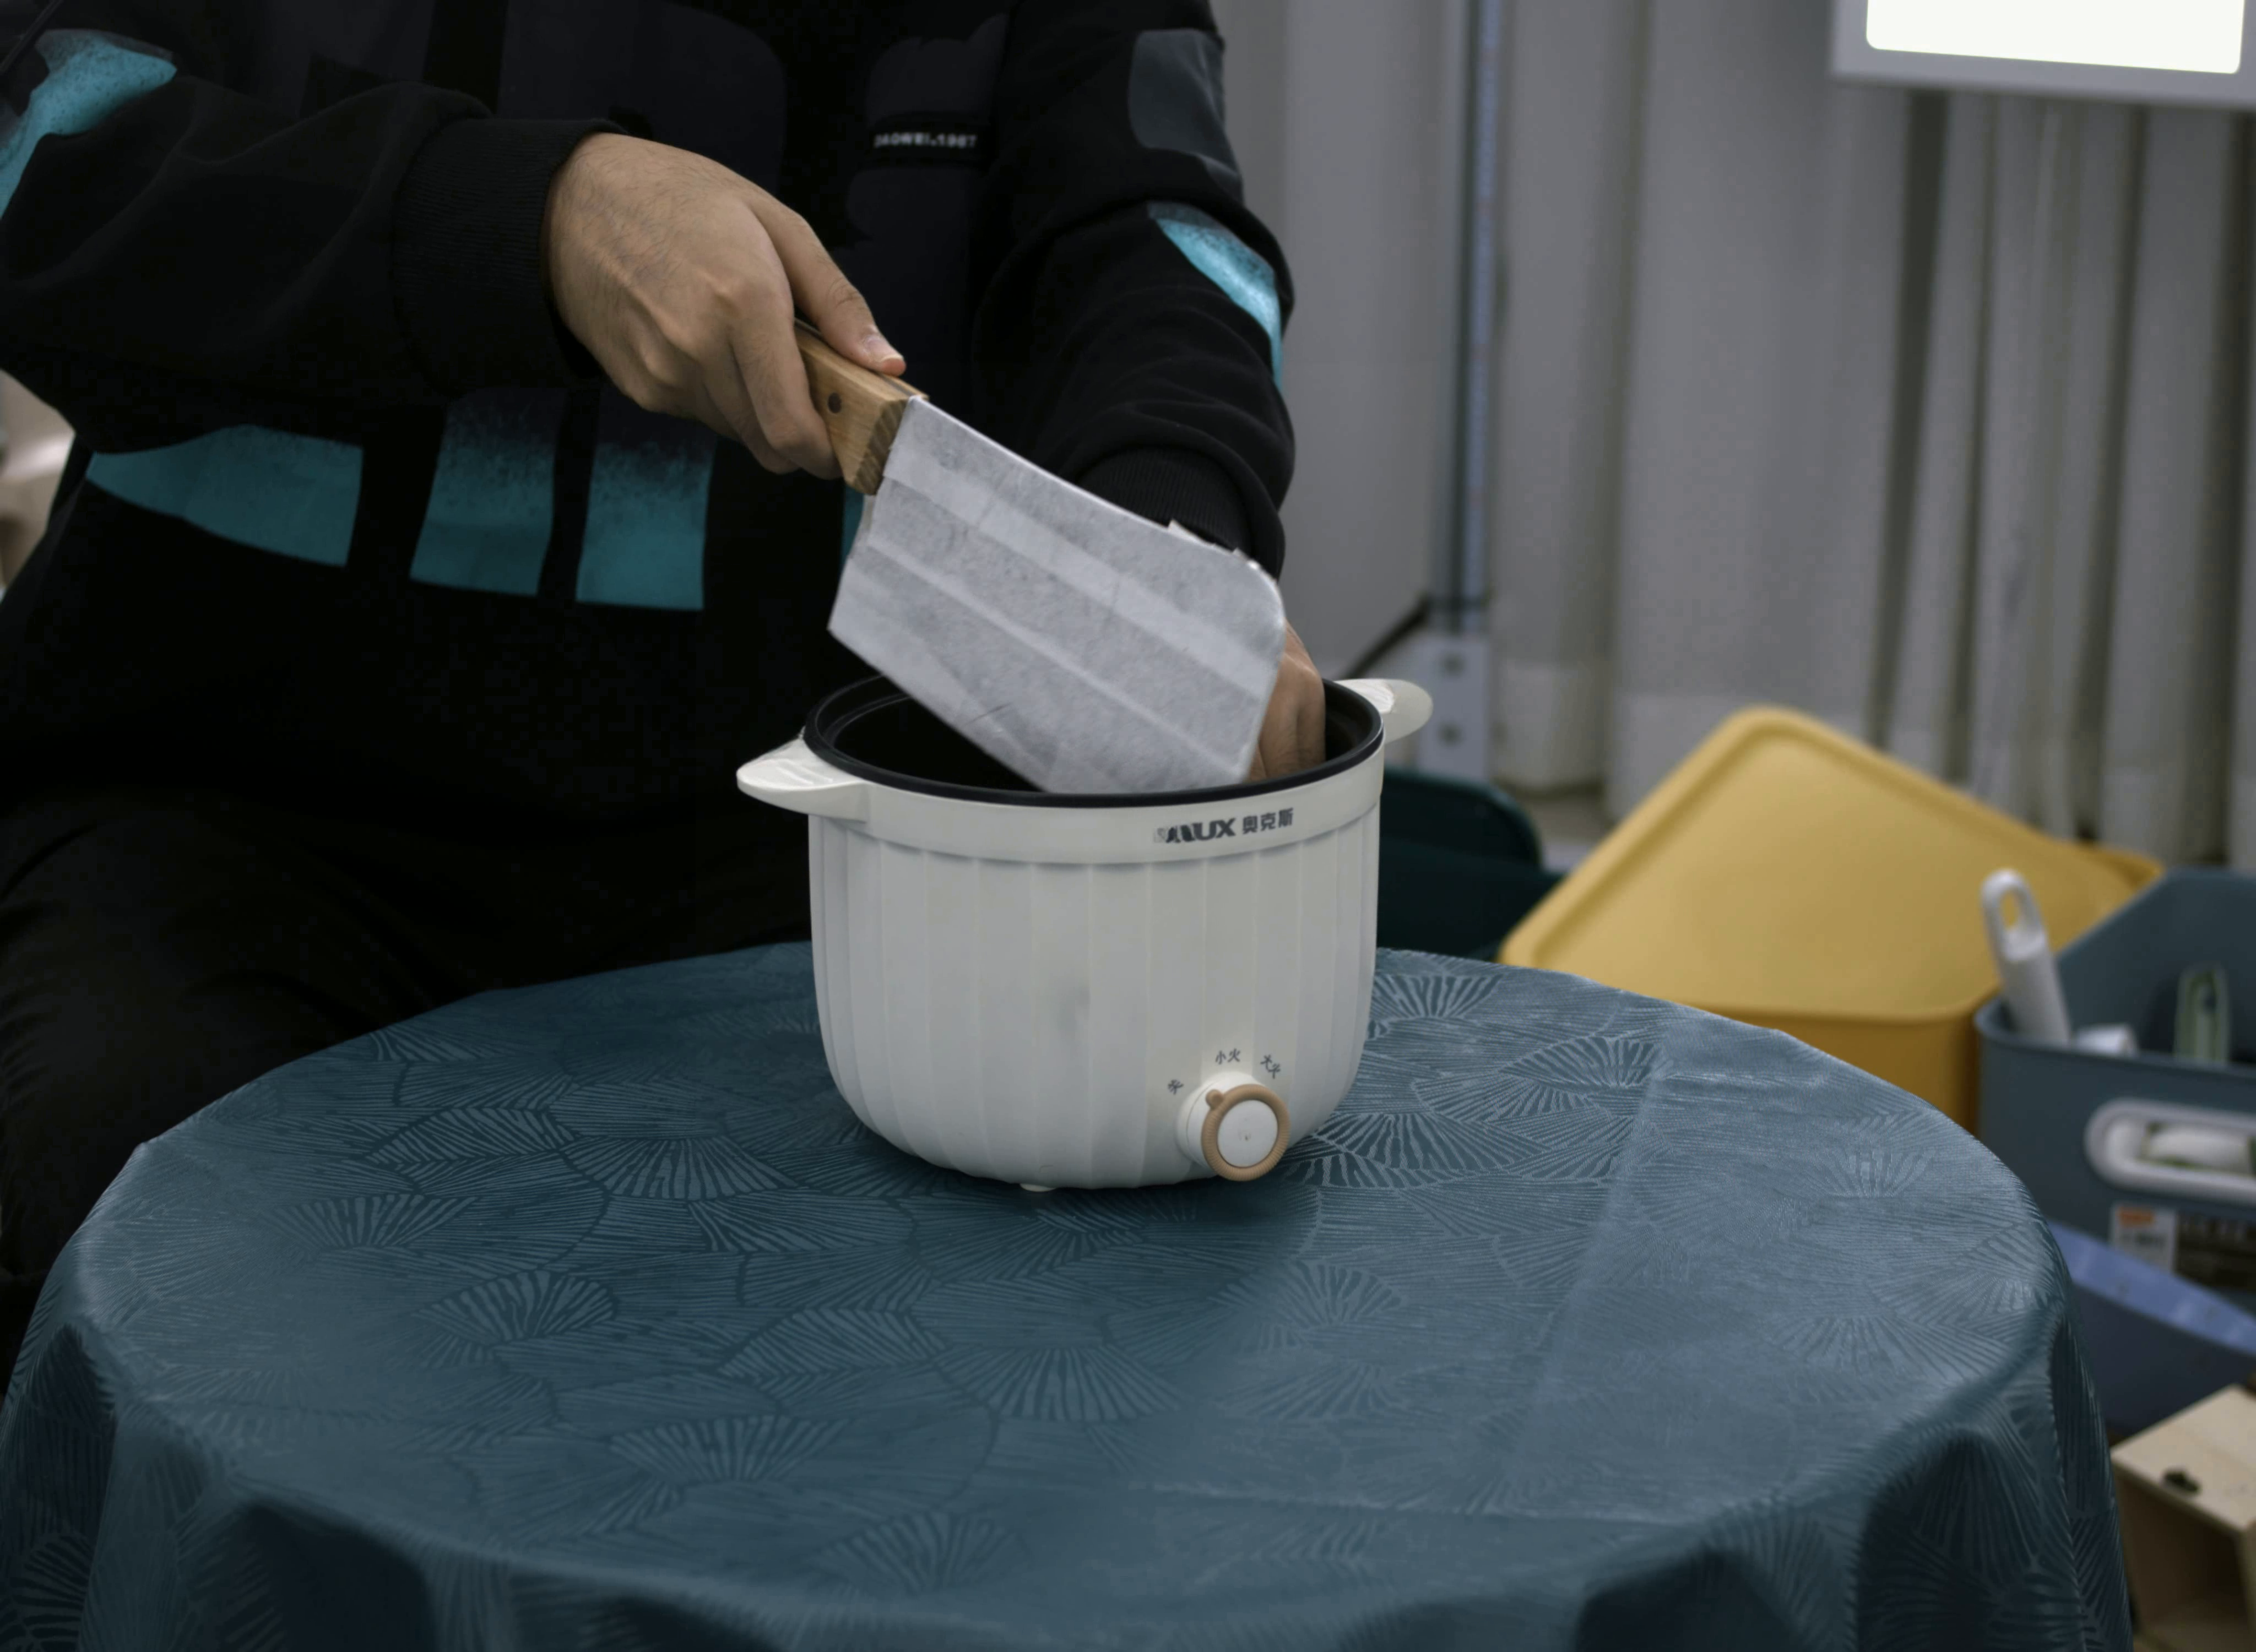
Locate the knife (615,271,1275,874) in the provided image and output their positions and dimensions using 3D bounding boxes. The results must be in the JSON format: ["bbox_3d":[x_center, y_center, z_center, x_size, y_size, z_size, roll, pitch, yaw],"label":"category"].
[{"bbox_3d":[-0.062,-0.096,1.660,0.022,0.114,0.311,-3,33,-48],"label":"knife"}]

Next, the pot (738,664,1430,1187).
[{"bbox_3d":[-0.007,0.031,1.654,0.241,0.144,0.188,-9,15,-27],"label":"pot"}]
